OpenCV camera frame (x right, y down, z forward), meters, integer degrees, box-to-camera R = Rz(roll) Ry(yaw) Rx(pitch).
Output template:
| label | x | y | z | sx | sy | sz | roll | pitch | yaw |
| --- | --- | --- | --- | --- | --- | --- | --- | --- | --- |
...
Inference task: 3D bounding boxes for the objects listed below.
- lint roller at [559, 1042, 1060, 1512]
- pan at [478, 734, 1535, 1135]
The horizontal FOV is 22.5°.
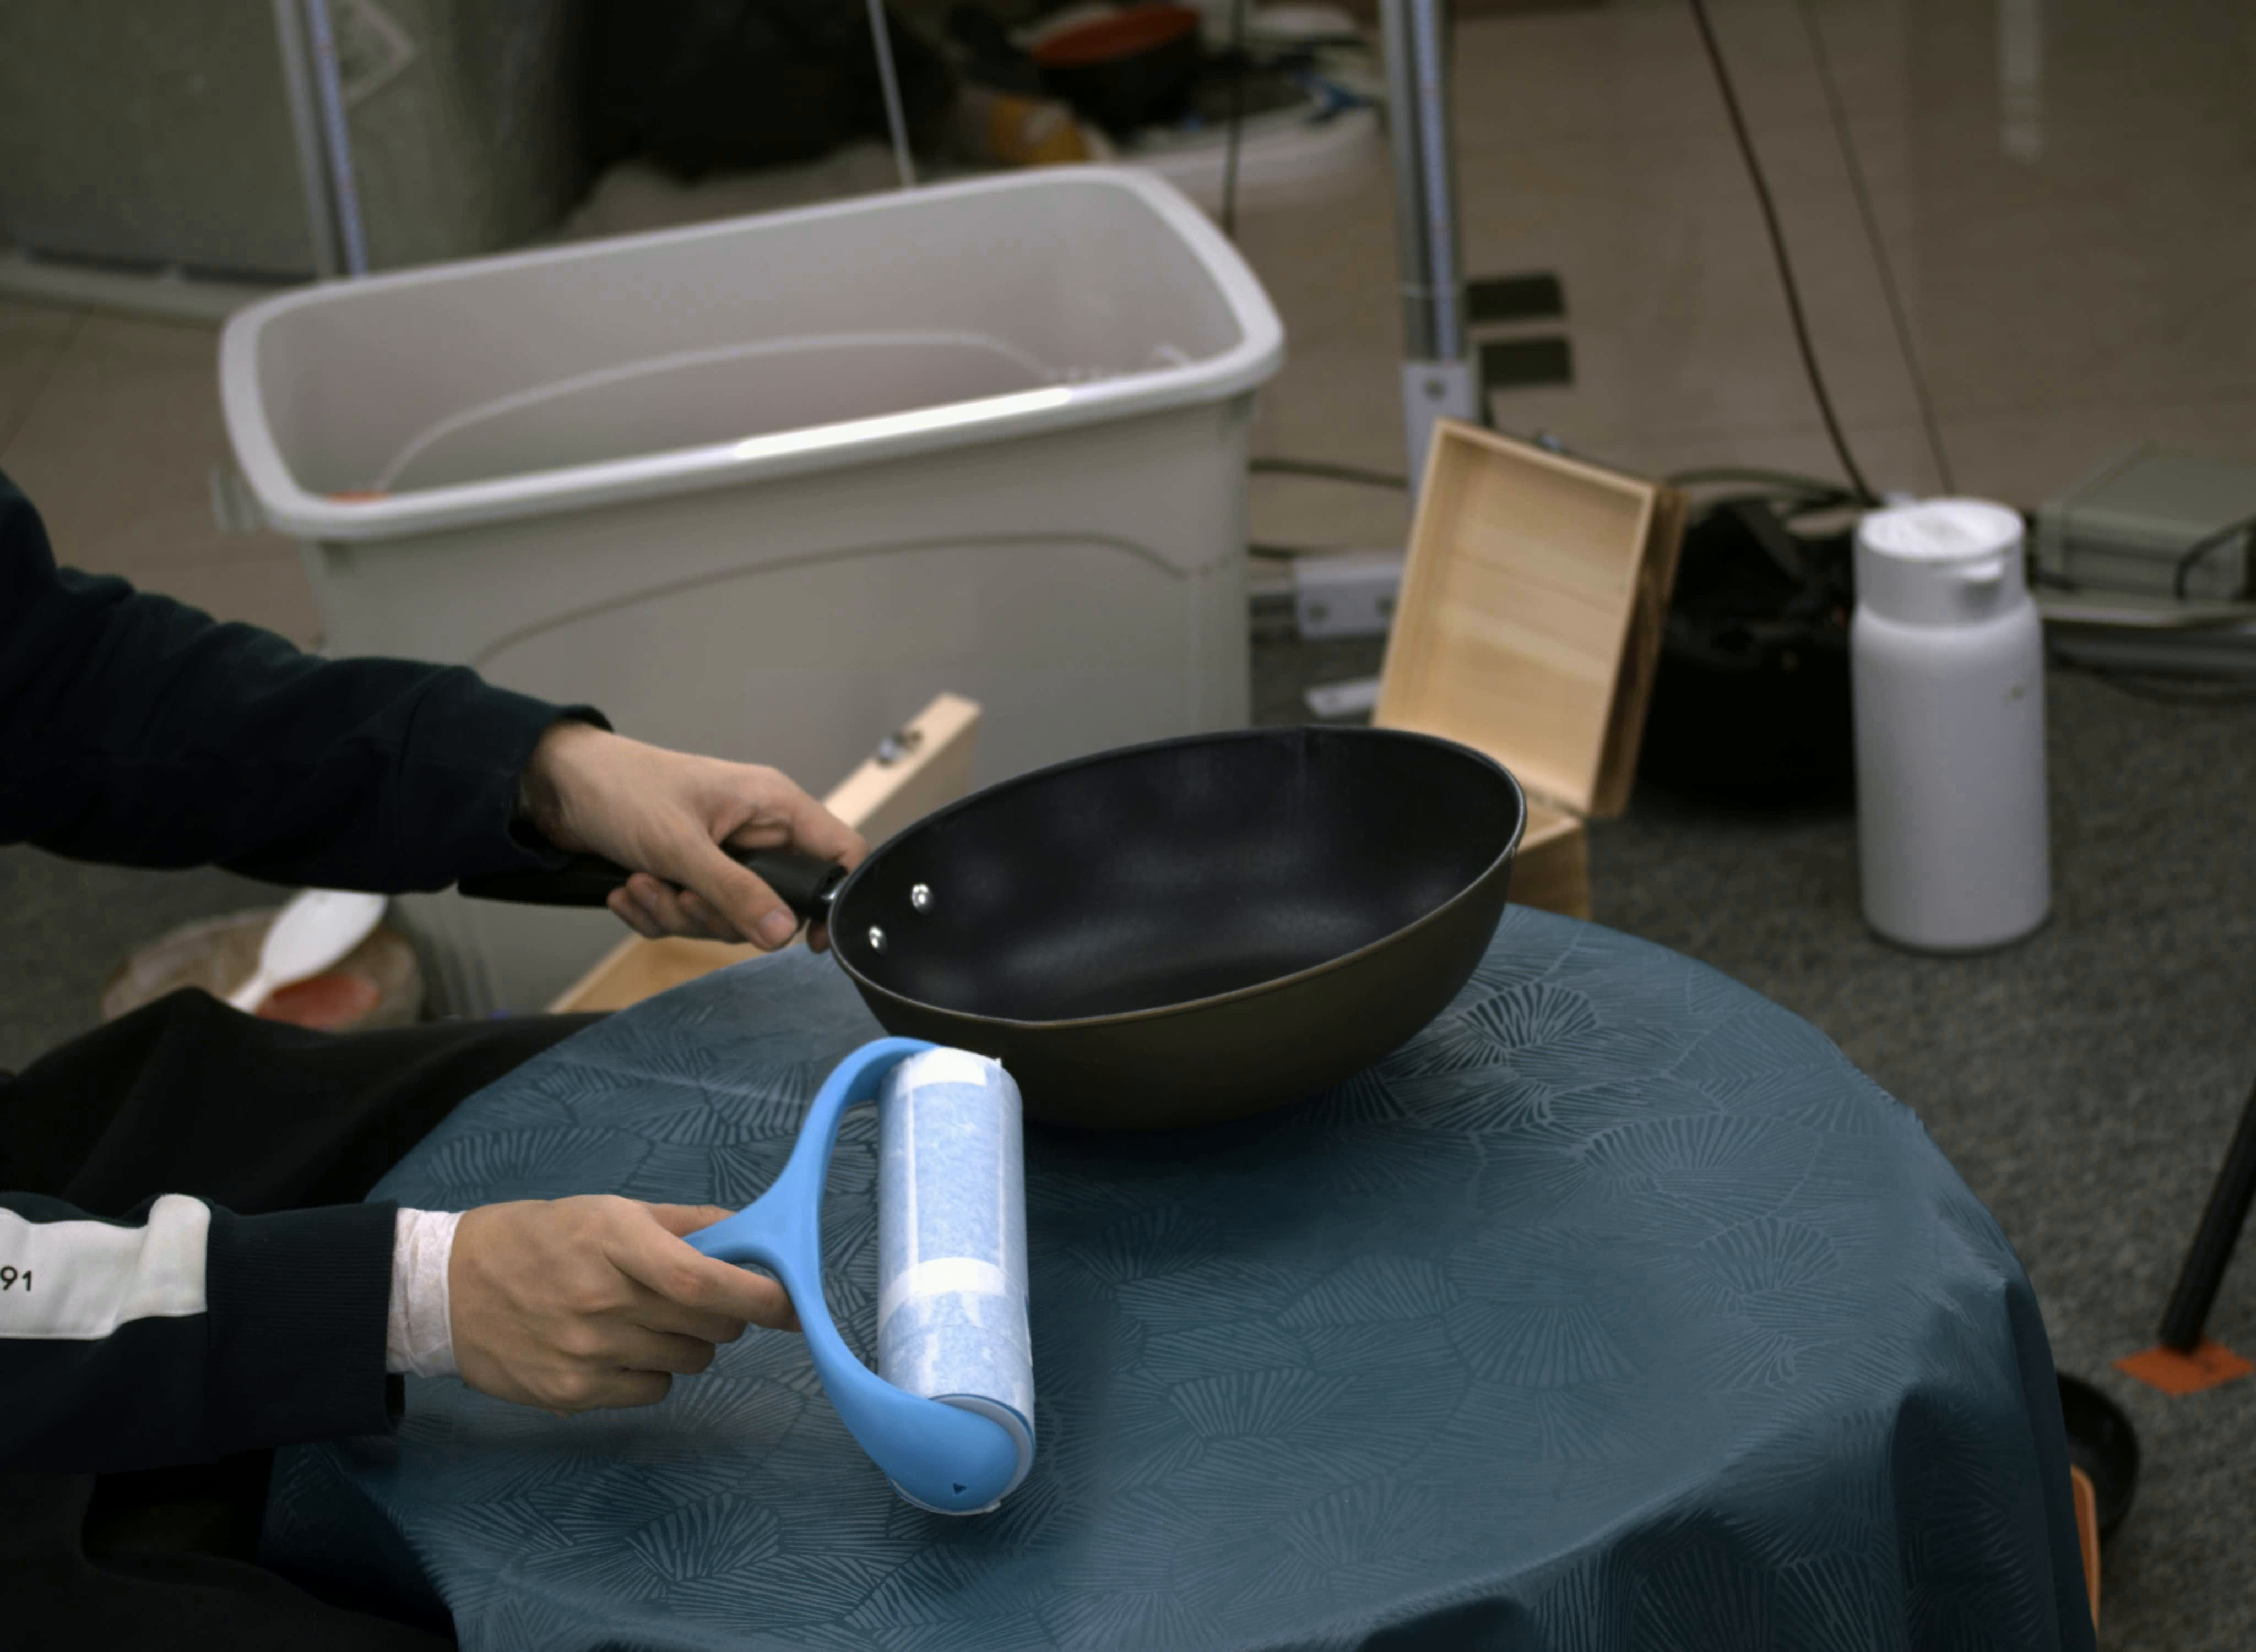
| label | x | y | z | sx | sy | sz | roll | pitch | yaw |
| --- | --- | --- | --- | --- | --- | --- | --- | --- | --- |
| lint roller | -0.115 | 0.166 | 1.997 | 0.180 | 0.069 | 0.225 | -8 | 37 | -1 |
| pan | -0.056 | 0.051 | 2.255 | 0.462 | 0.088 | 0.284 | 0 | 23 | 26 |
